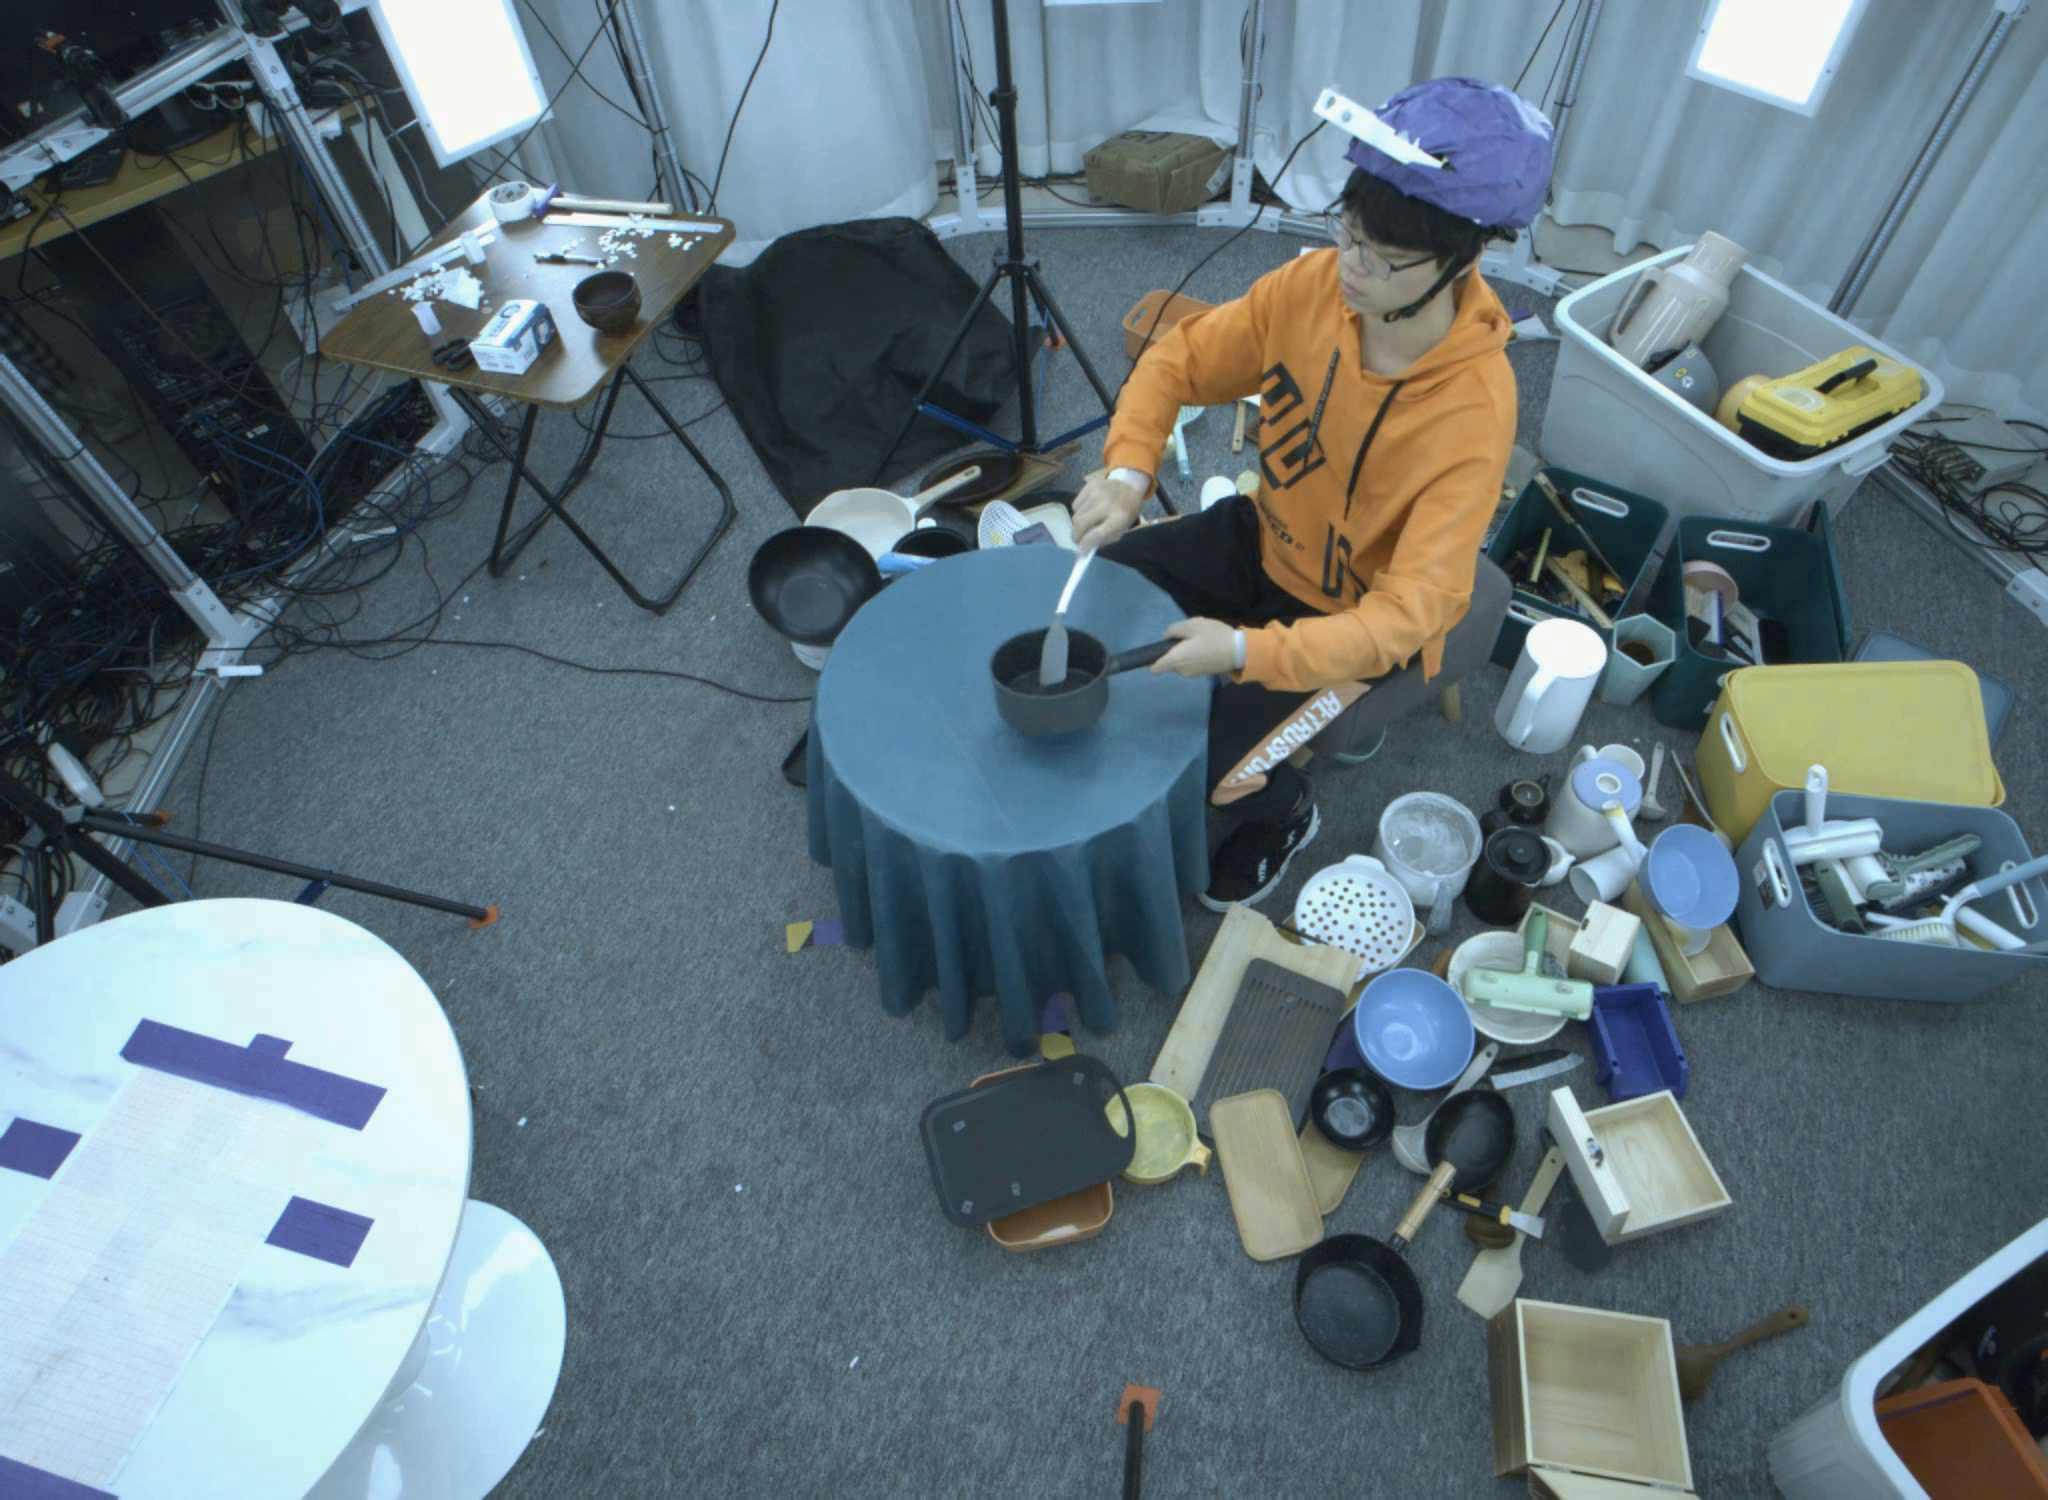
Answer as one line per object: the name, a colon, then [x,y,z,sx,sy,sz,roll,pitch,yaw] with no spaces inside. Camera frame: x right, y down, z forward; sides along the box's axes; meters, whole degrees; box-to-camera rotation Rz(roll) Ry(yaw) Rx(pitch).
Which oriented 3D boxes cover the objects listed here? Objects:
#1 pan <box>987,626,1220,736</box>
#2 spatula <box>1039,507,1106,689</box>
pan: [0.115,-0.110,1.751,0.329,0.087,0.169,-8,42,0]
spatula: [0.068,-0.221,1.764,0.057,0.033,0.286,-3,63,43]
